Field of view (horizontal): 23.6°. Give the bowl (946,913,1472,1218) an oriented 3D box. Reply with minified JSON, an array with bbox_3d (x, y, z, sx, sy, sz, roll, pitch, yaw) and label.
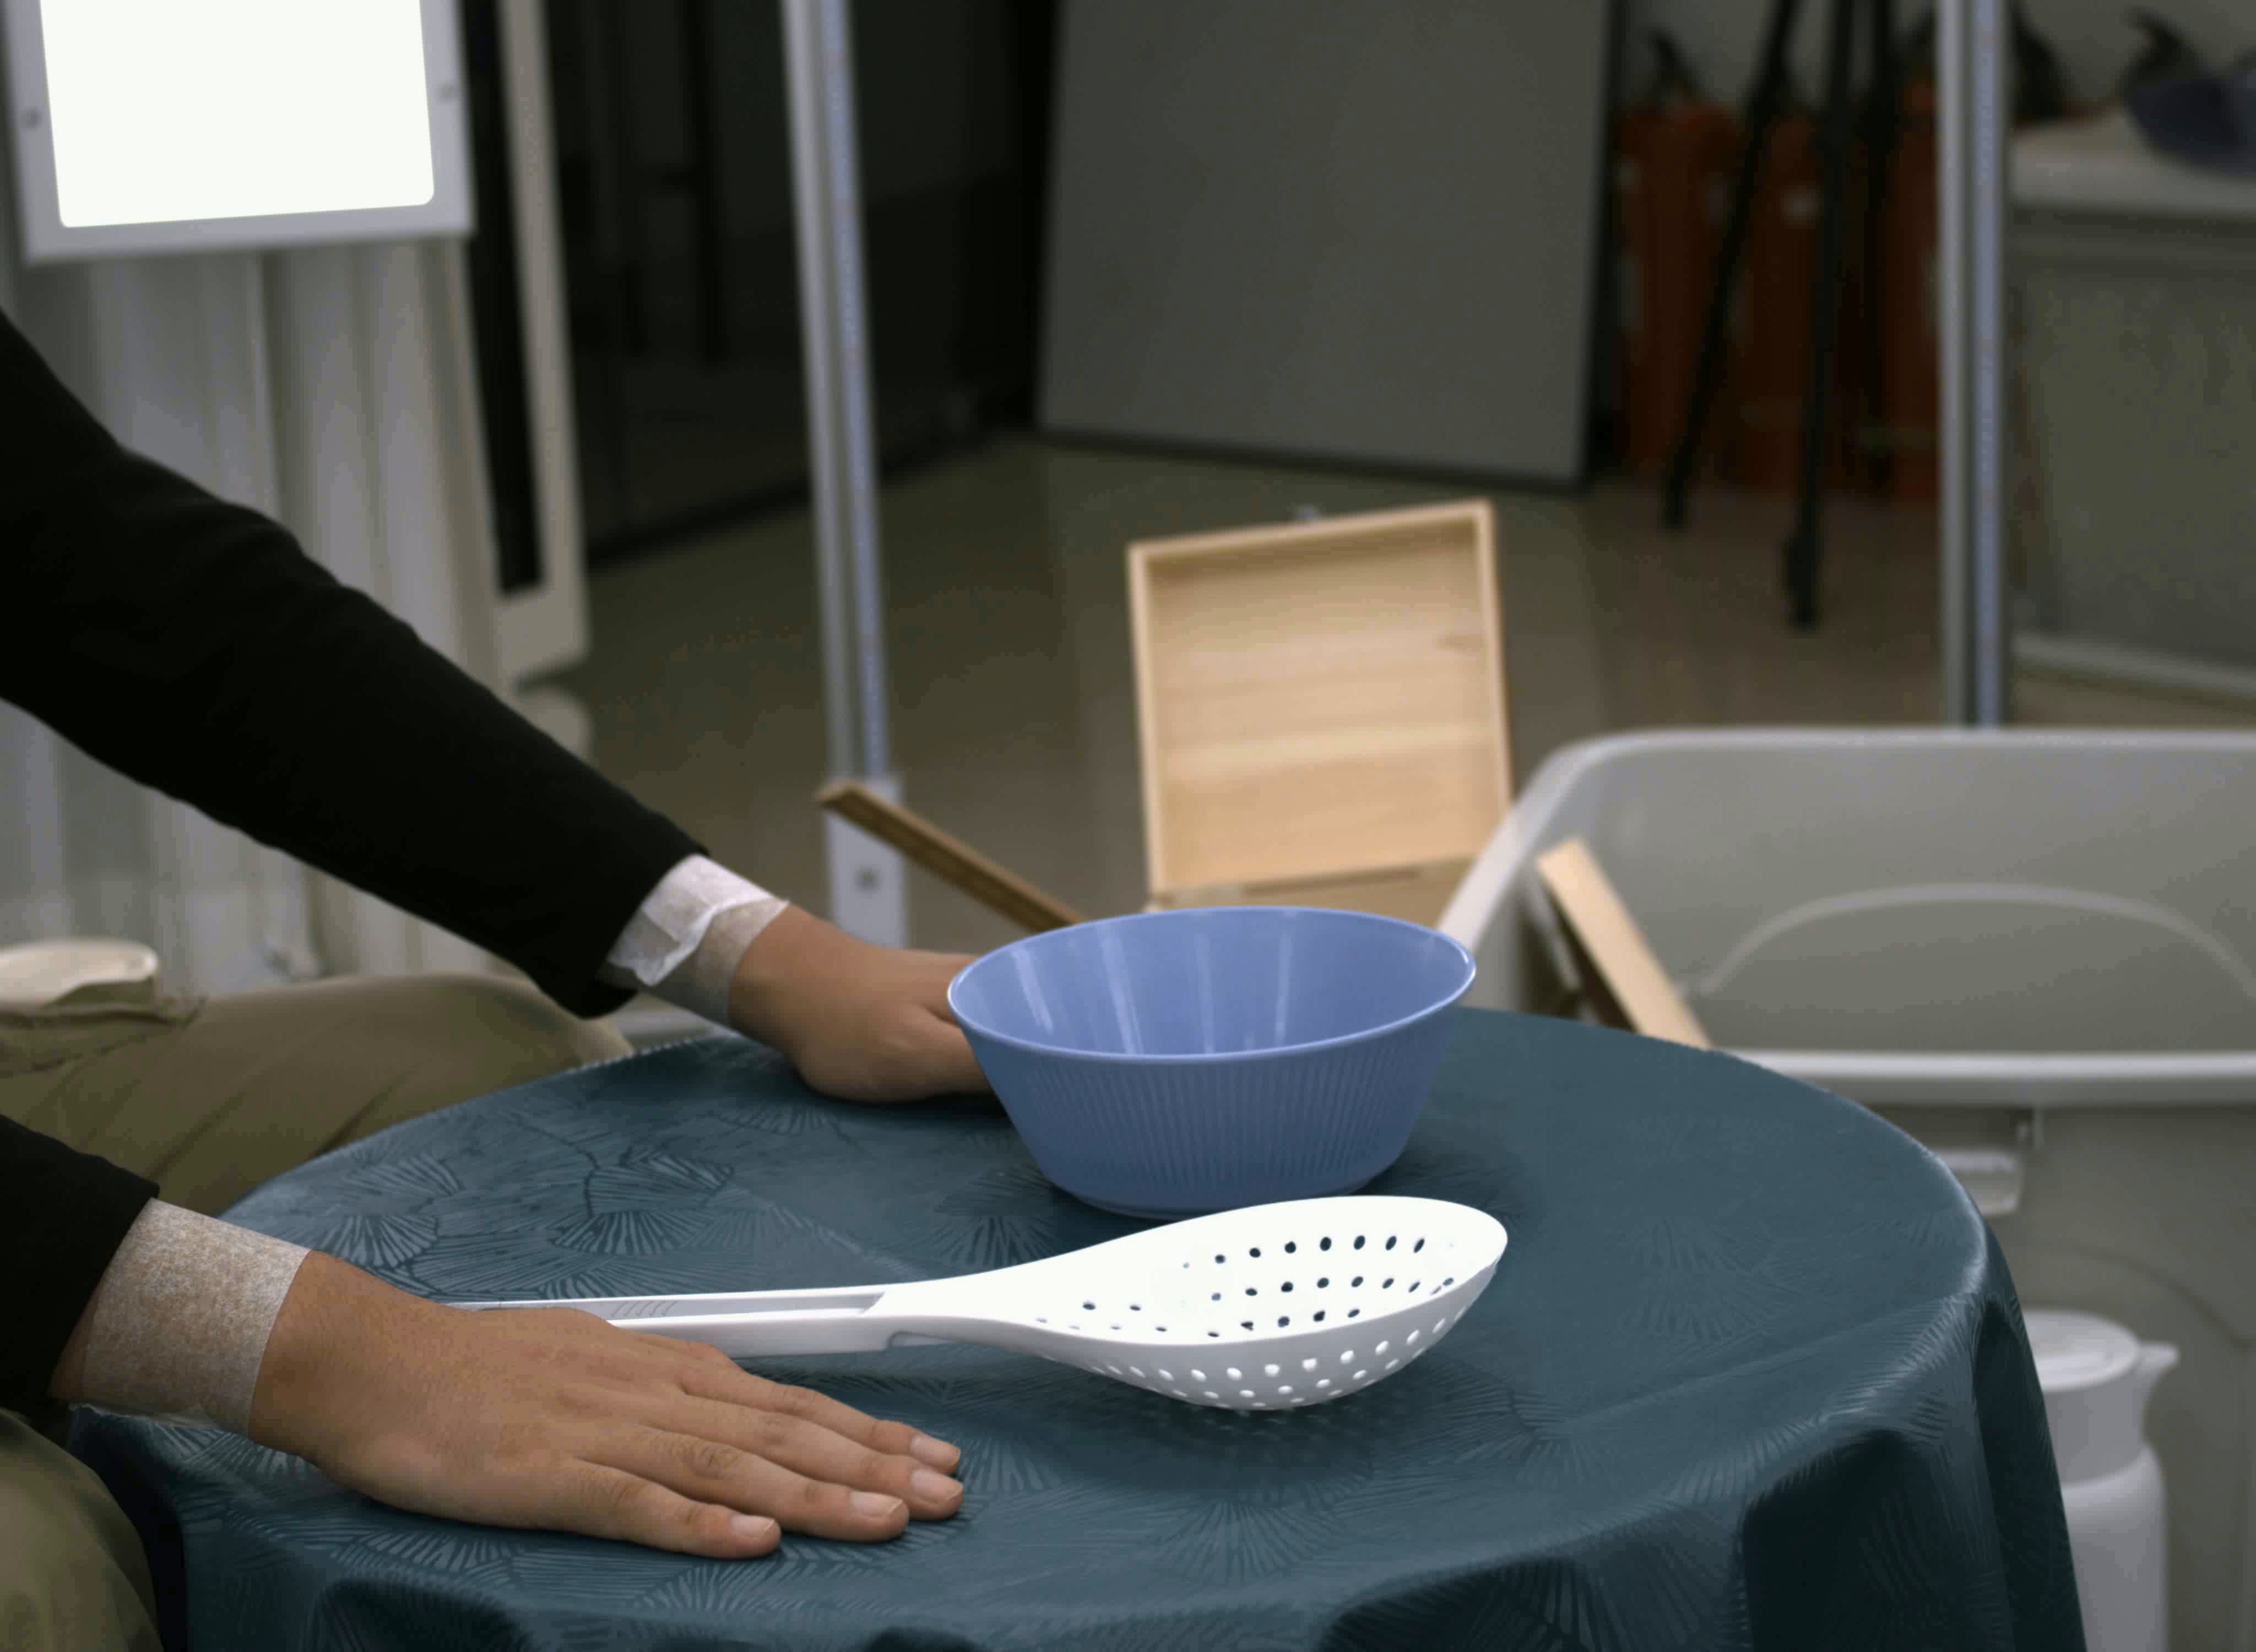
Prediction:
[{"bbox_3d":[0.029,0.081,1.777,0.174,0.071,0.176,-5,13,0],"label":"bowl"}]

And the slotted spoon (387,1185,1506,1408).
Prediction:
[{"bbox_3d":[-0.057,0.144,1.597,0.348,0.046,0.135,-1,14,17],"label":"slotted spoon"}]
